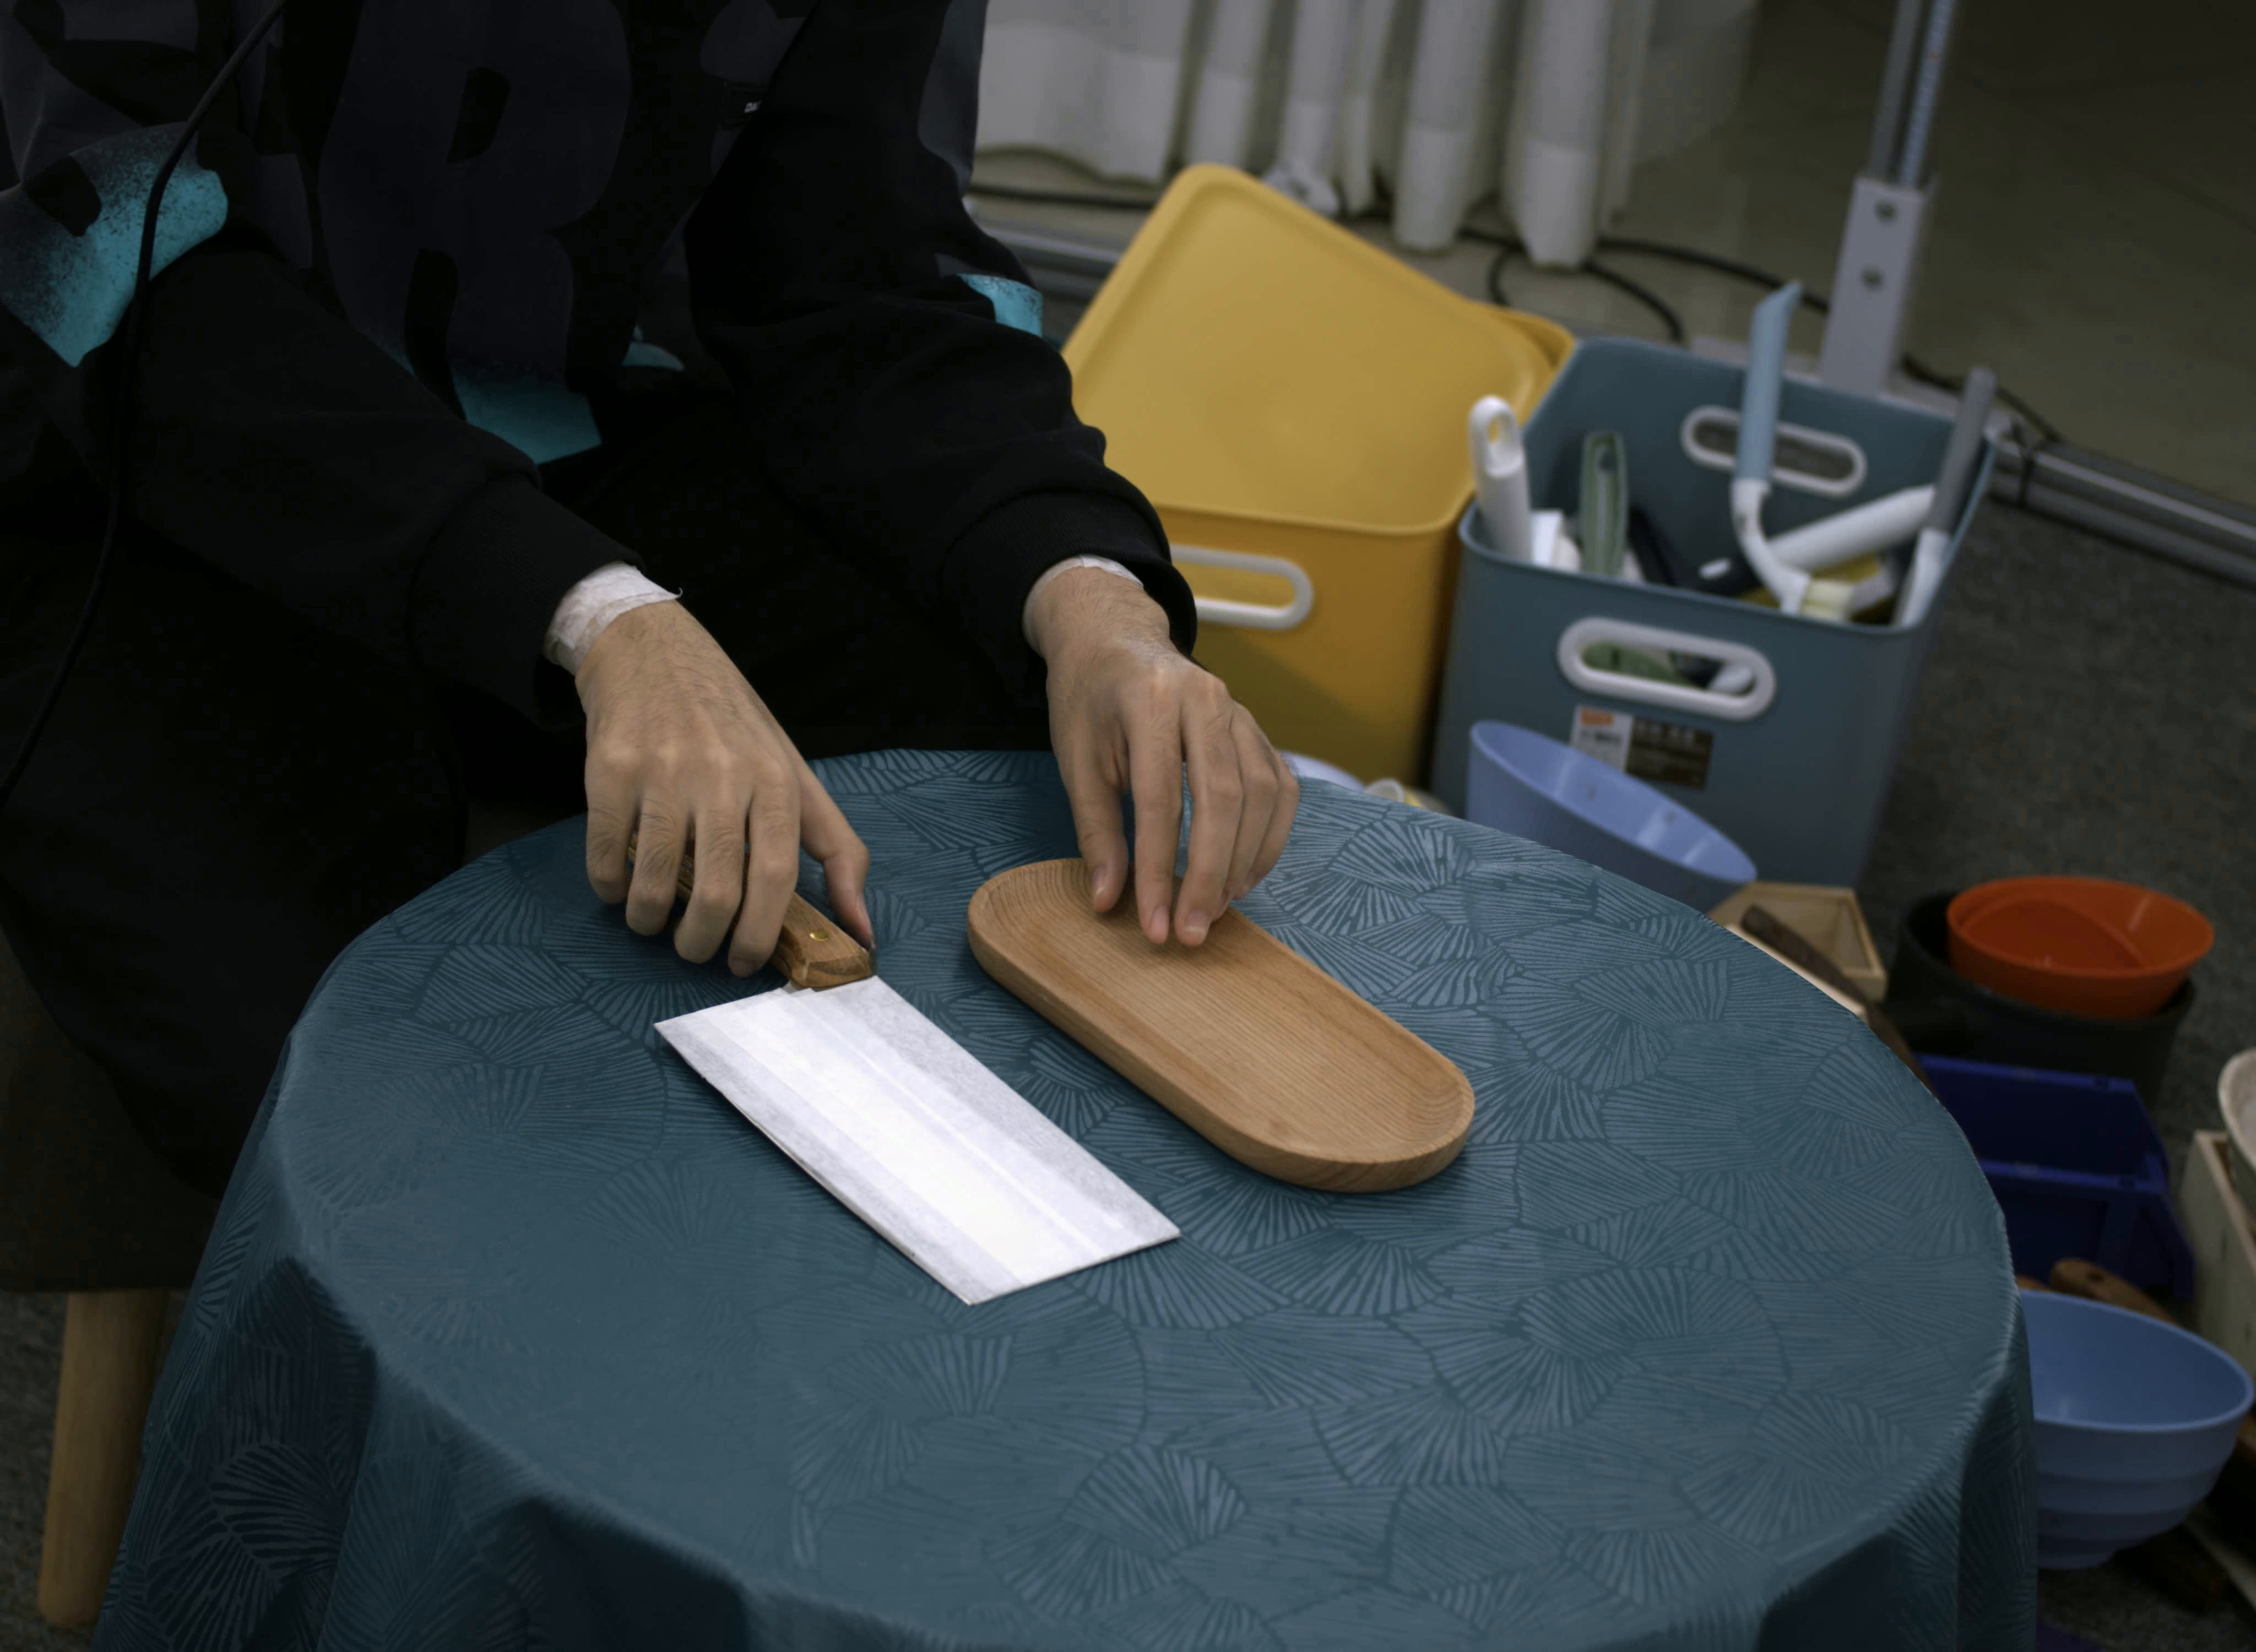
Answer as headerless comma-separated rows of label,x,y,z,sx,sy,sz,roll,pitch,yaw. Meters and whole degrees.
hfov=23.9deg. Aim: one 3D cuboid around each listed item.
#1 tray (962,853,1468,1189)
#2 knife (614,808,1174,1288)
tray,0.029,0.068,1.900,0.101,0.020,0.233,-13,32,-35
knife,-0.106,0.076,1.854,0.092,0.021,0.308,-16,37,-34
